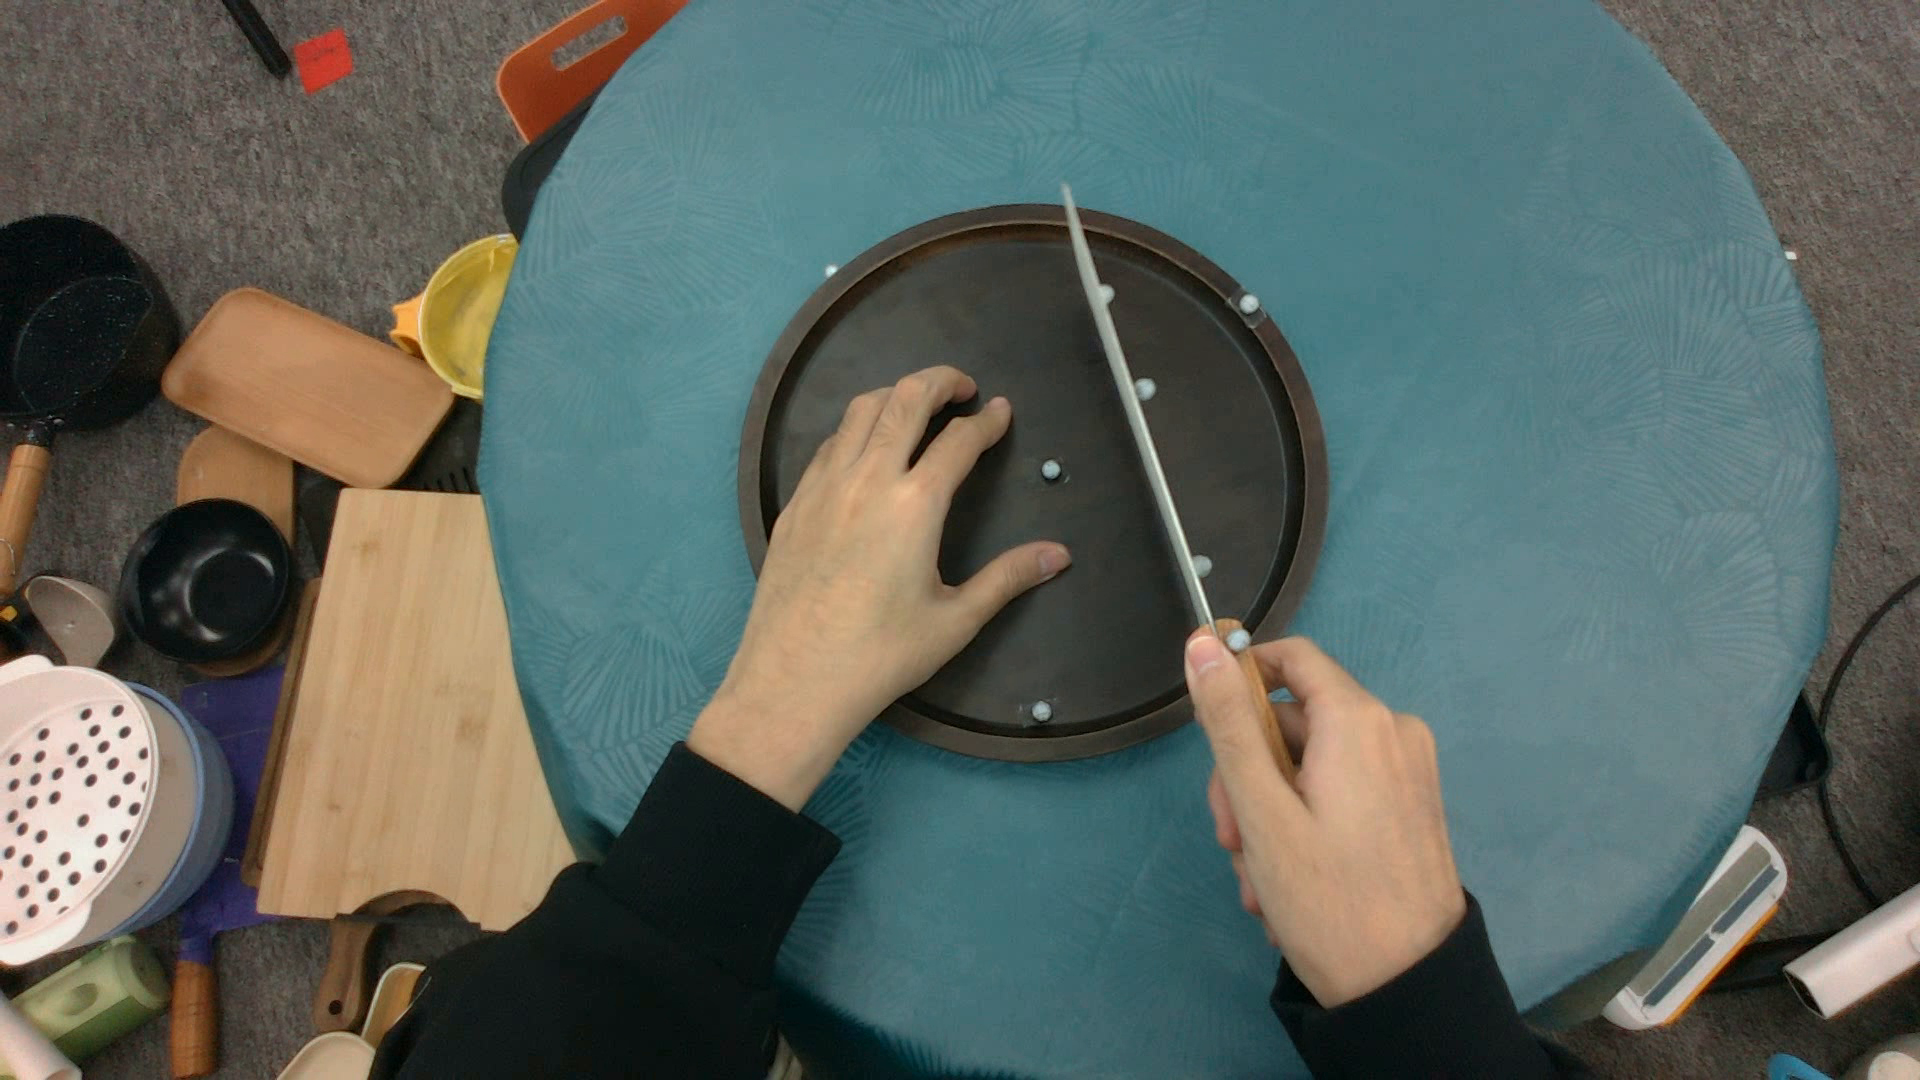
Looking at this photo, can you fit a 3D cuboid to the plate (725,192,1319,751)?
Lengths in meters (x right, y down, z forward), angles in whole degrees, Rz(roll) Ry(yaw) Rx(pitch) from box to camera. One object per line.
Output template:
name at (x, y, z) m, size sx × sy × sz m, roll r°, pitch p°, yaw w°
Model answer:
plate at (0.026, -0.034, 0.594) m, size 0.255 × 0.029 × 0.255 m, roll 0°, pitch 72°, yaw -1°

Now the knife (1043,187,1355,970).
knife at (0.083, 0.008, 0.525) m, size 0.021 × 0.093 × 0.306 m, roll -19°, pitch 72°, yaw 5°
